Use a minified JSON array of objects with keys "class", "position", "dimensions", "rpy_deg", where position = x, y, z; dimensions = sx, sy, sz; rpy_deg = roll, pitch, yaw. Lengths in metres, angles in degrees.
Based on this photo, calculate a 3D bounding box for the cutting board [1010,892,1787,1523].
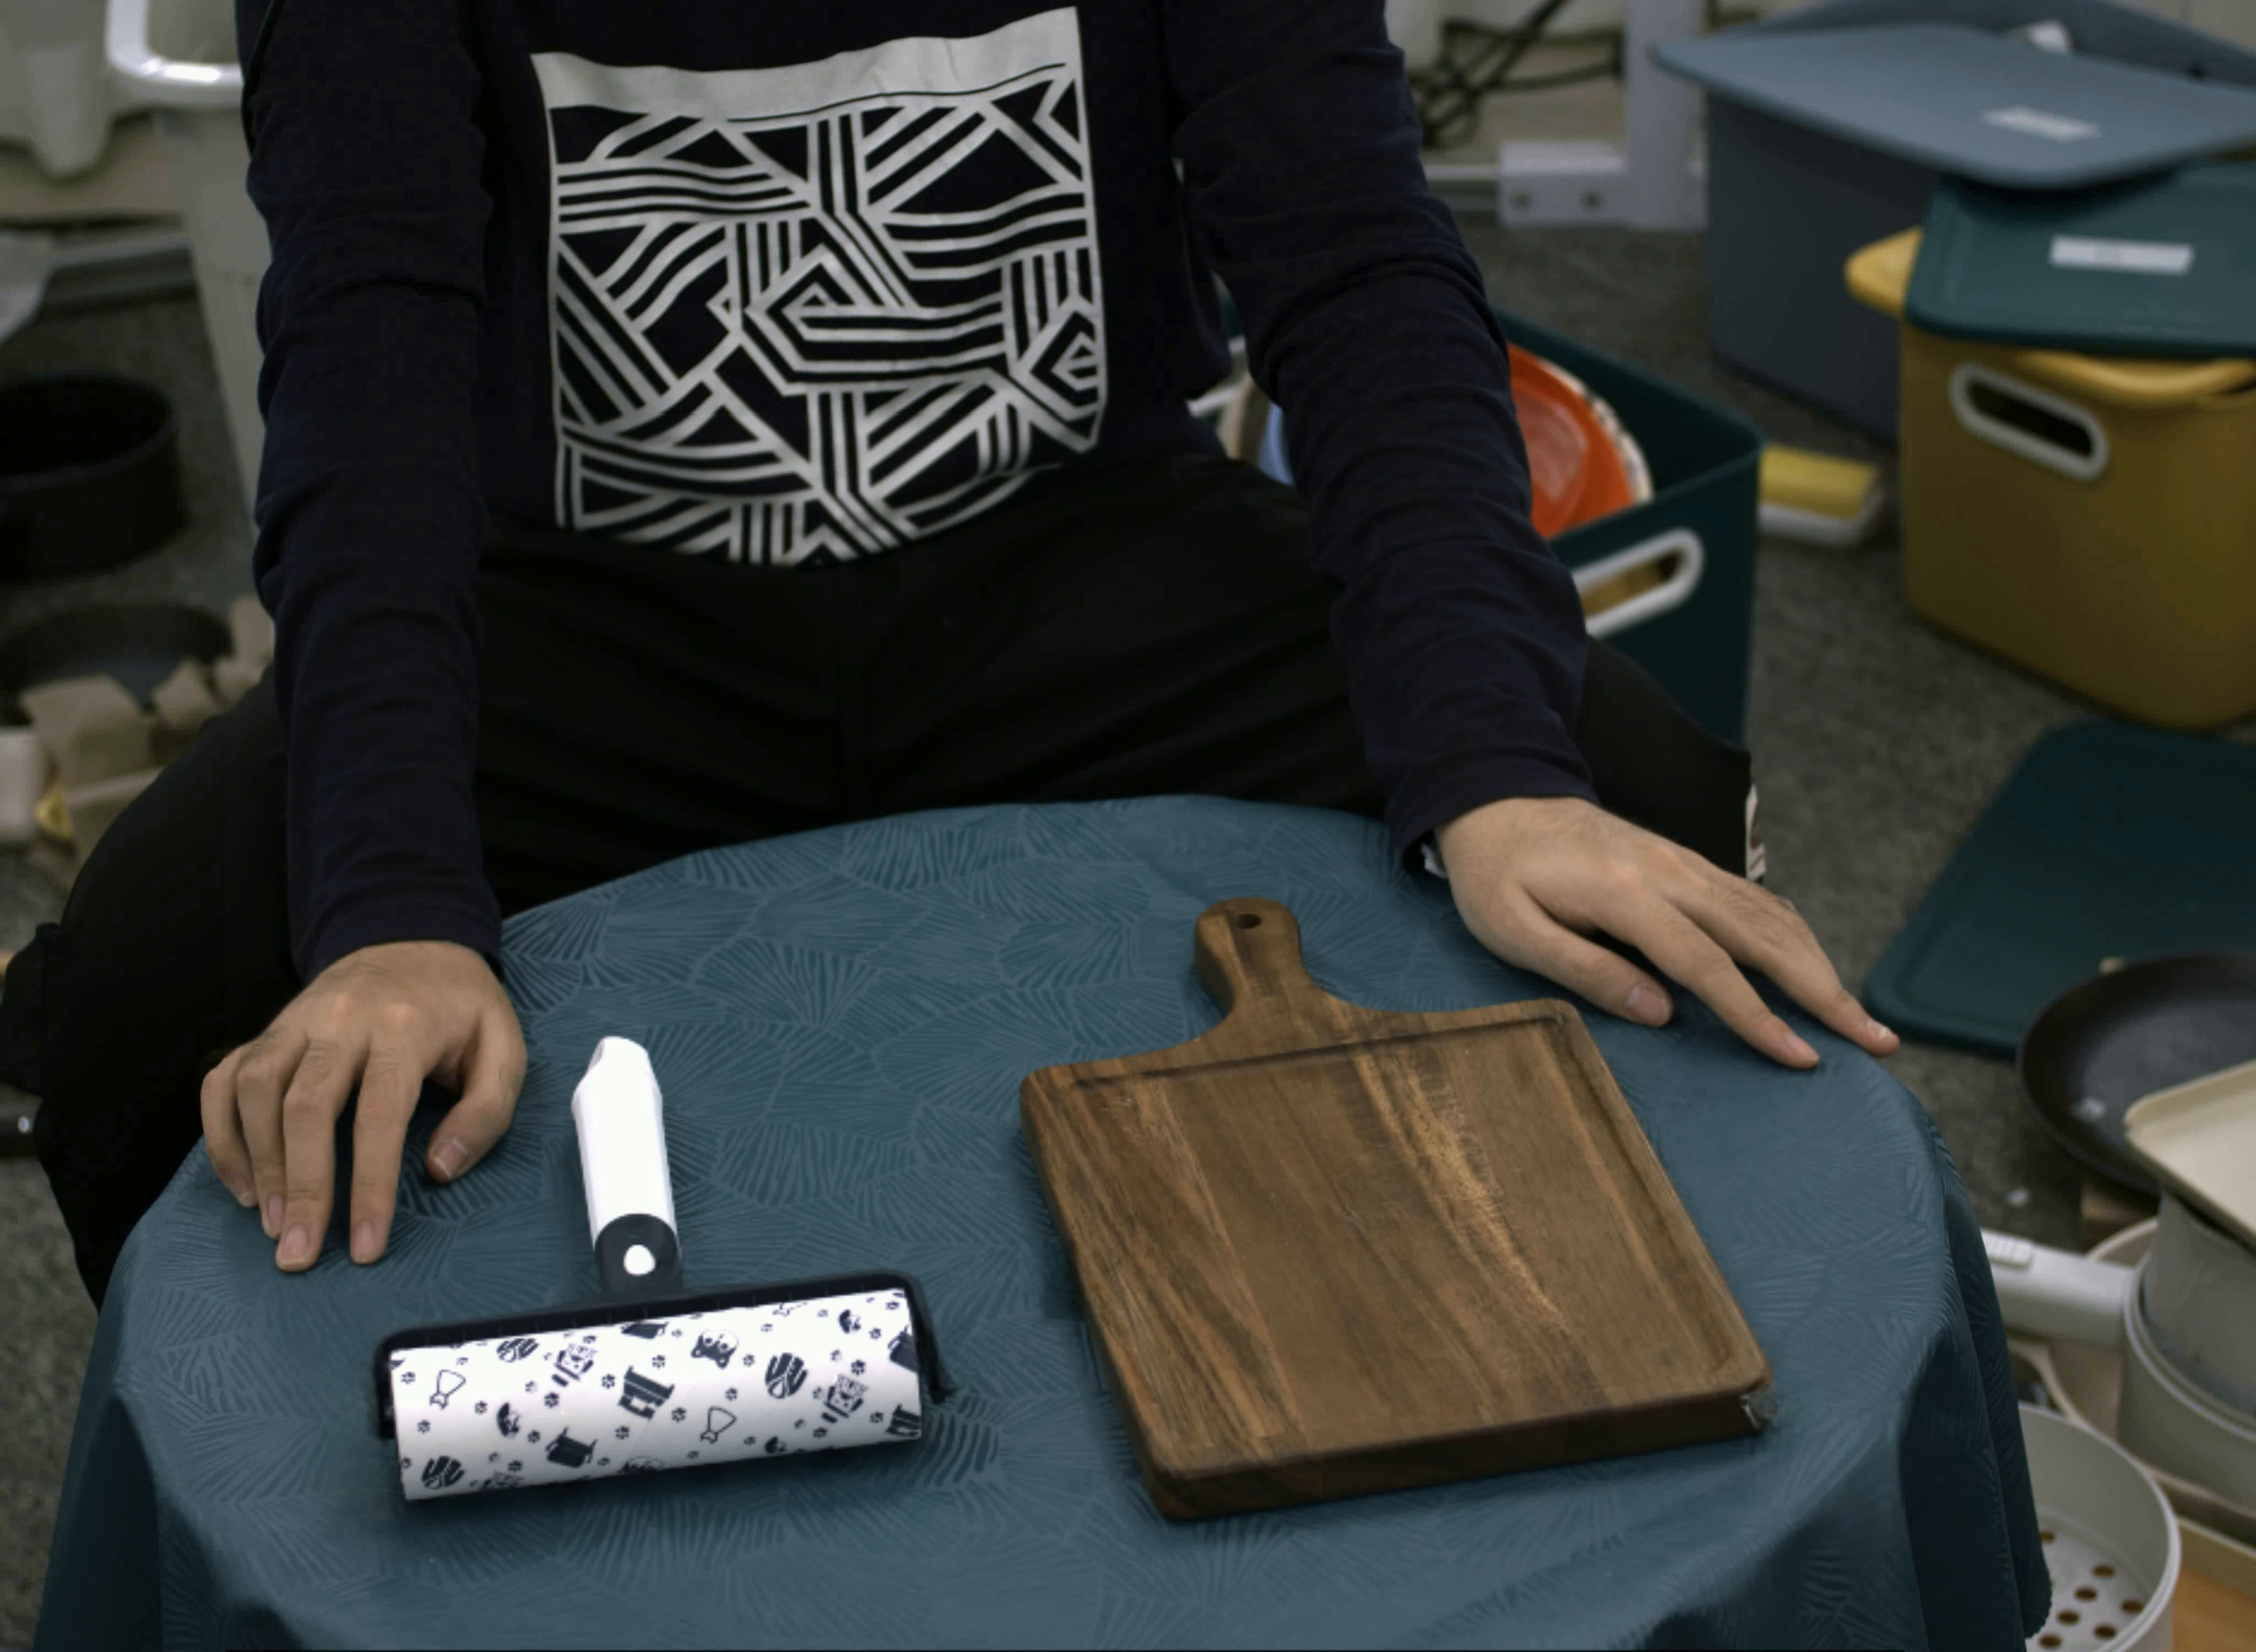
[{"class":"cutting board","position":[0.071,0.111,1.851],"dimensions":[0.201,0.023,0.356],"rpy_deg":[-7,28,-10]}]

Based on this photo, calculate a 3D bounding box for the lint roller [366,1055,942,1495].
[{"class":"lint roller","position":[-0.162,0.130,1.813],"dimensions":[0.176,0.050,0.250],"rpy_deg":[-7,26,-7]}]
